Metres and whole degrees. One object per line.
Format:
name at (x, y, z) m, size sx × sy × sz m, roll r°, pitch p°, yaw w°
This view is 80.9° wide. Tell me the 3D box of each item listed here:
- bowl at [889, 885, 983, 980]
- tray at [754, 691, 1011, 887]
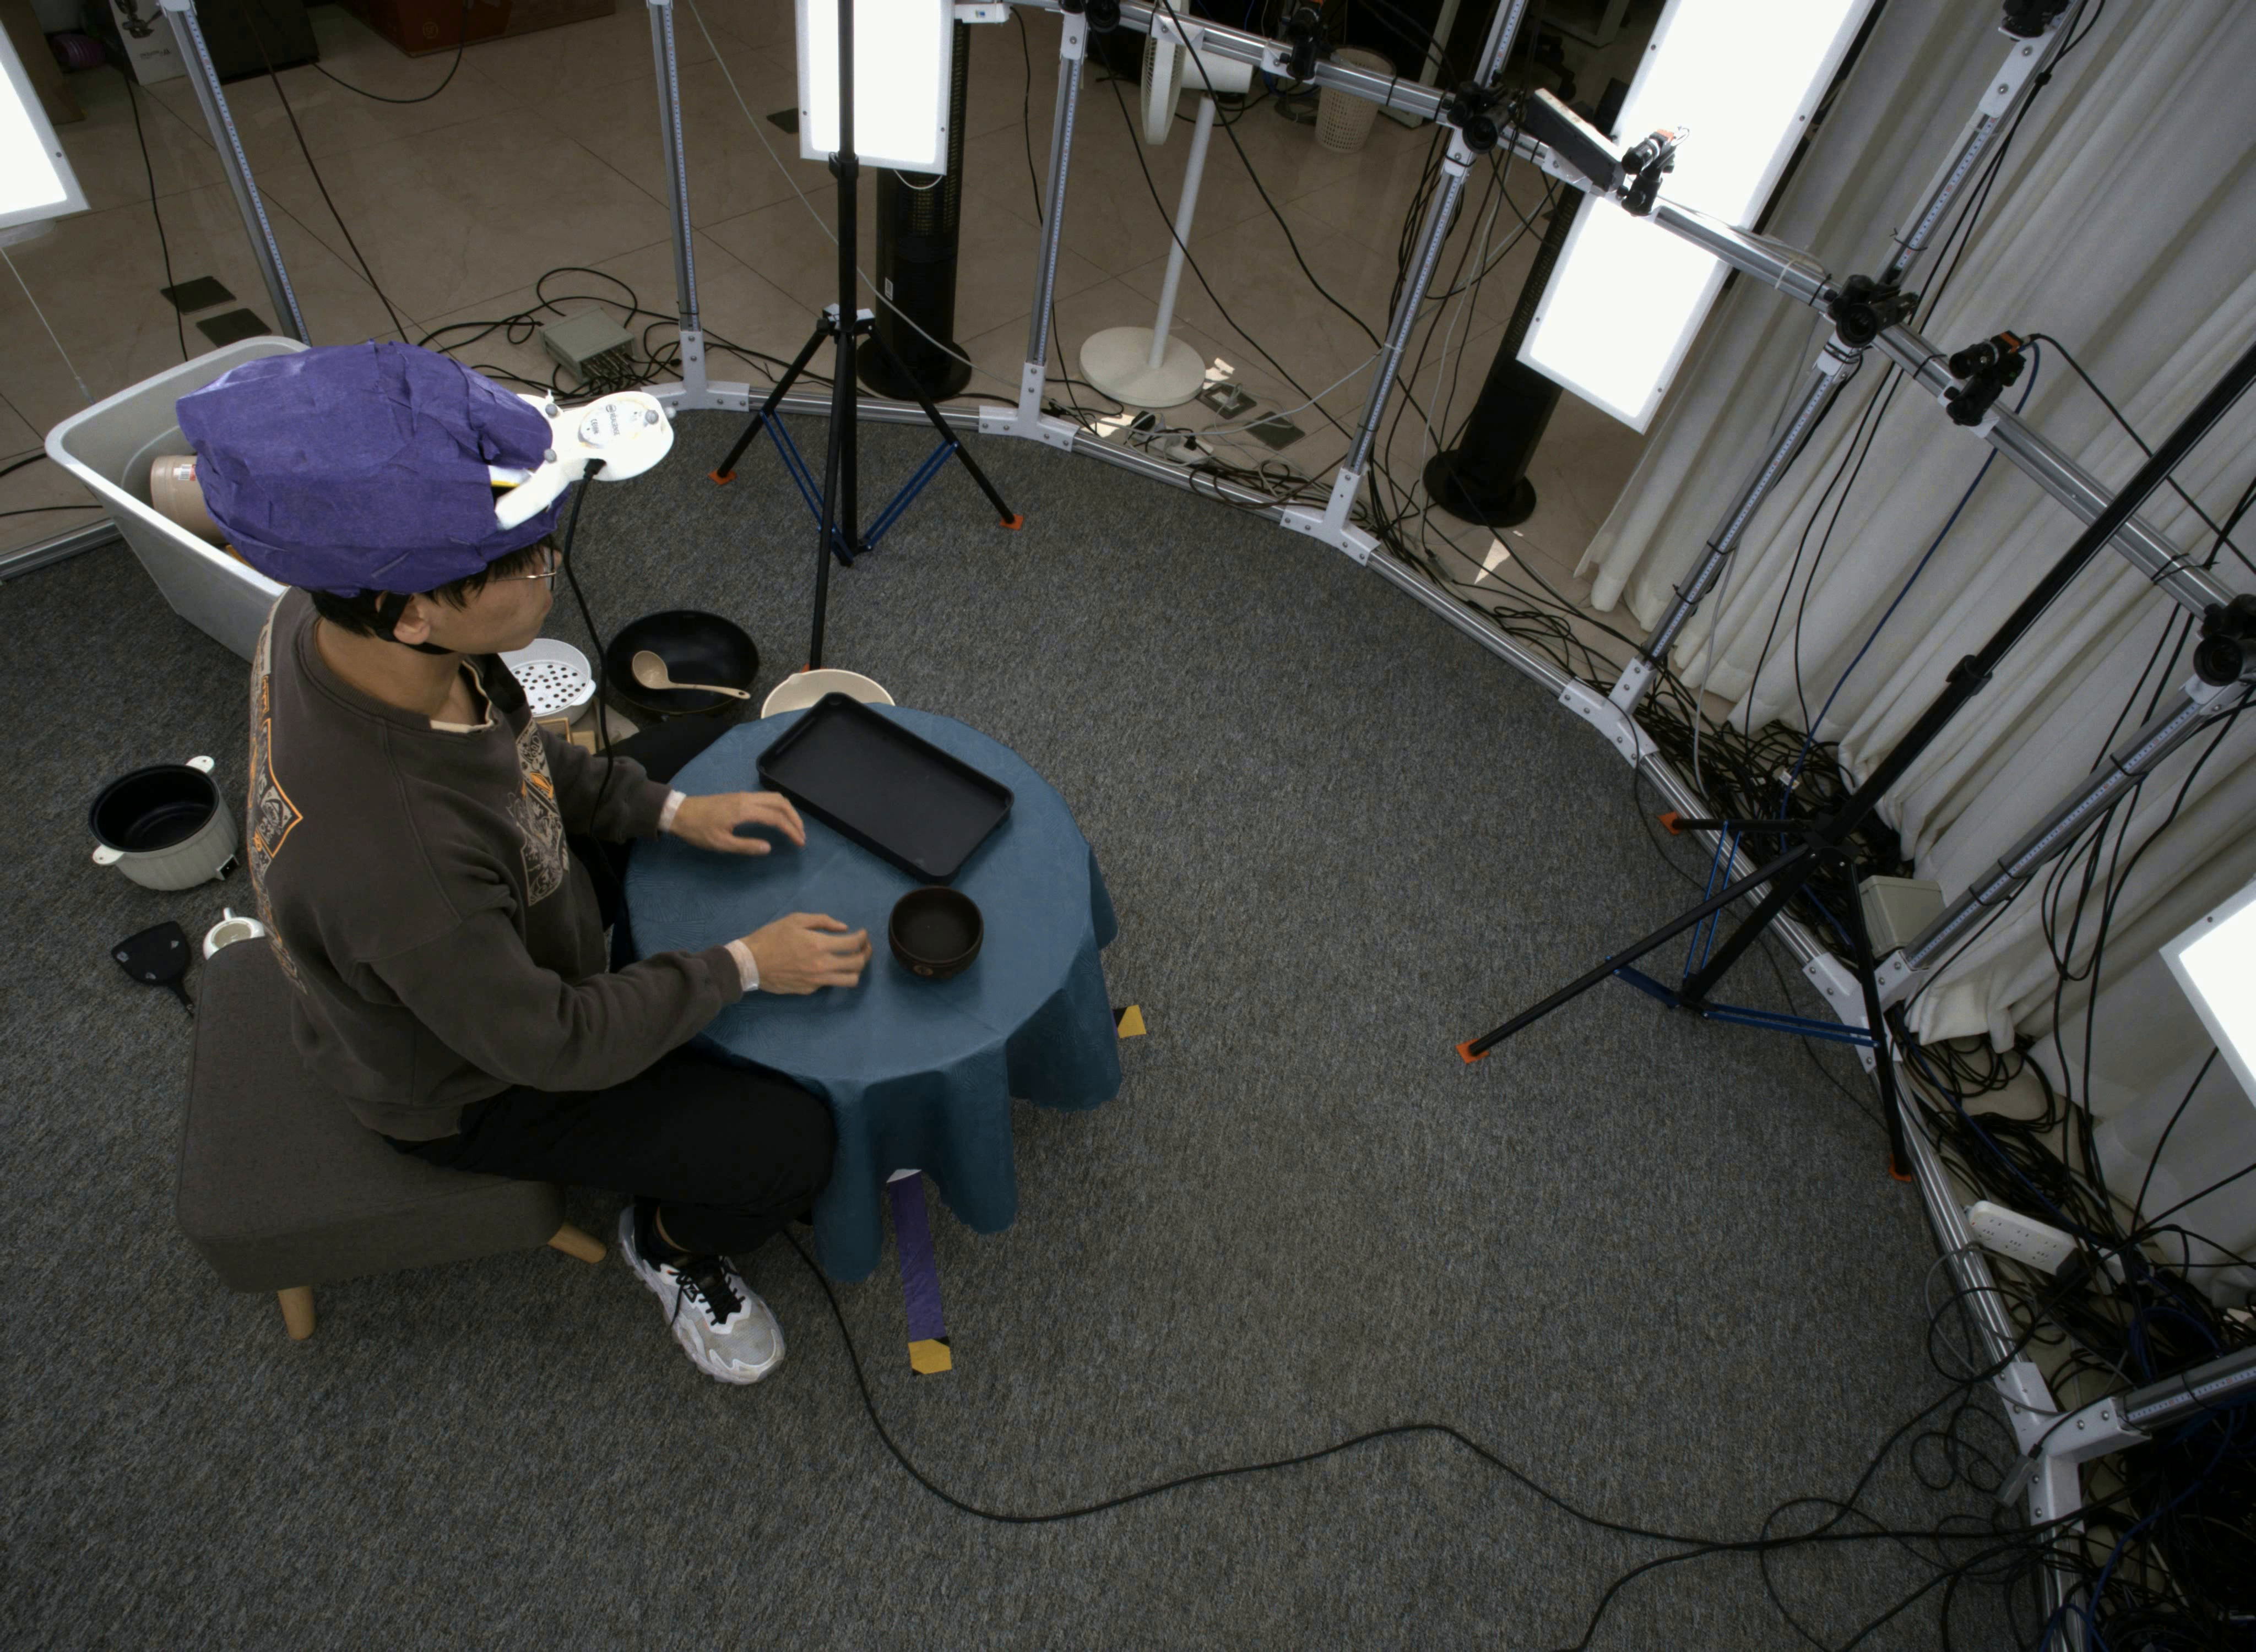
bowl at (-0.241, 0.139, 1.635) m, size 0.117 × 0.071 × 0.116 m, roll 6°, pitch 54°, yaw -7°
tray at (-0.334, -0.054, 1.778) m, size 0.313 × 0.038 × 0.183 m, roll 29°, pitch 54°, yaw 8°
